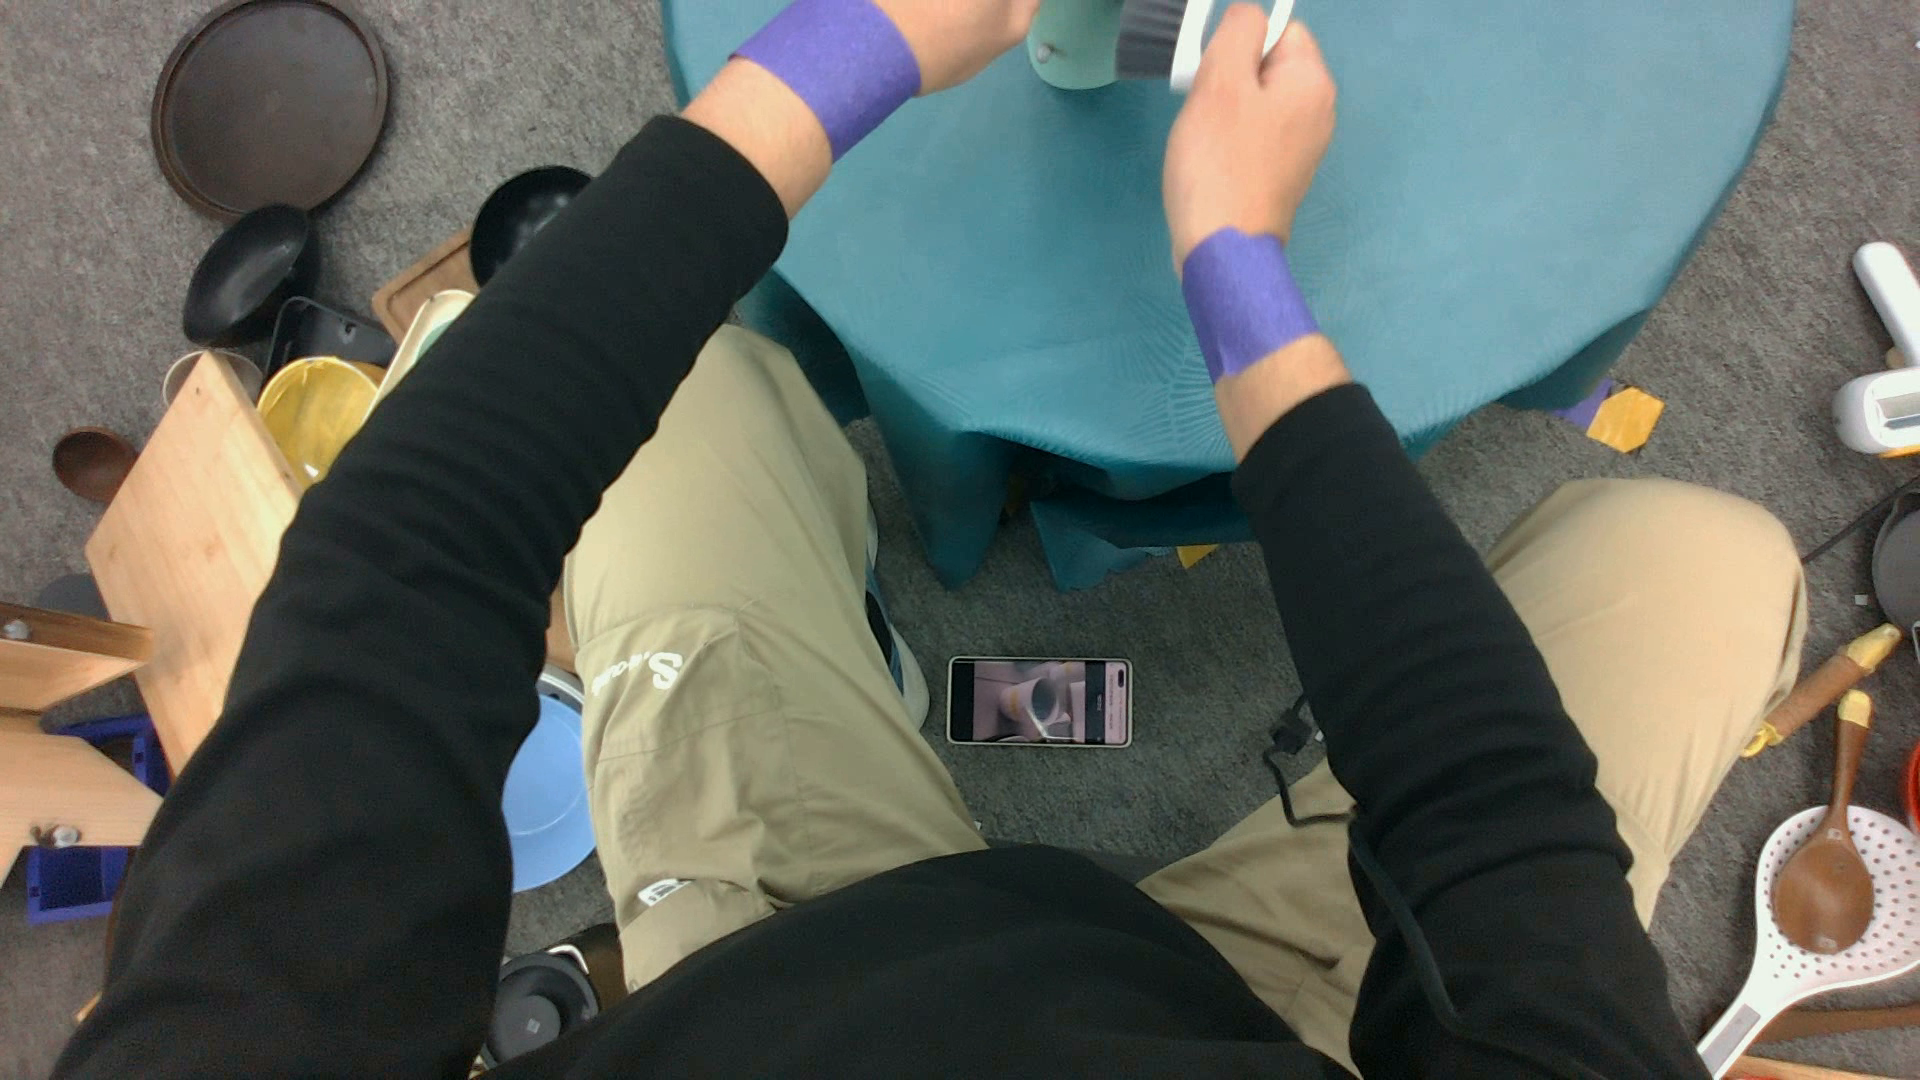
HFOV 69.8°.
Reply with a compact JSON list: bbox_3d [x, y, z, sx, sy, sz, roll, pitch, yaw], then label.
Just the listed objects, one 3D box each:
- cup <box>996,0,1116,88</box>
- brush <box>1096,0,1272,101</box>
[{"bbox_3d":[0.049,-0.281,0.678,0.067,0.132,0.067,-1,82,5],"label":"cup"},{"bbox_3d":[0.107,-0.251,0.636,0.072,0.050,0.099,12,80,5],"label":"brush"}]
